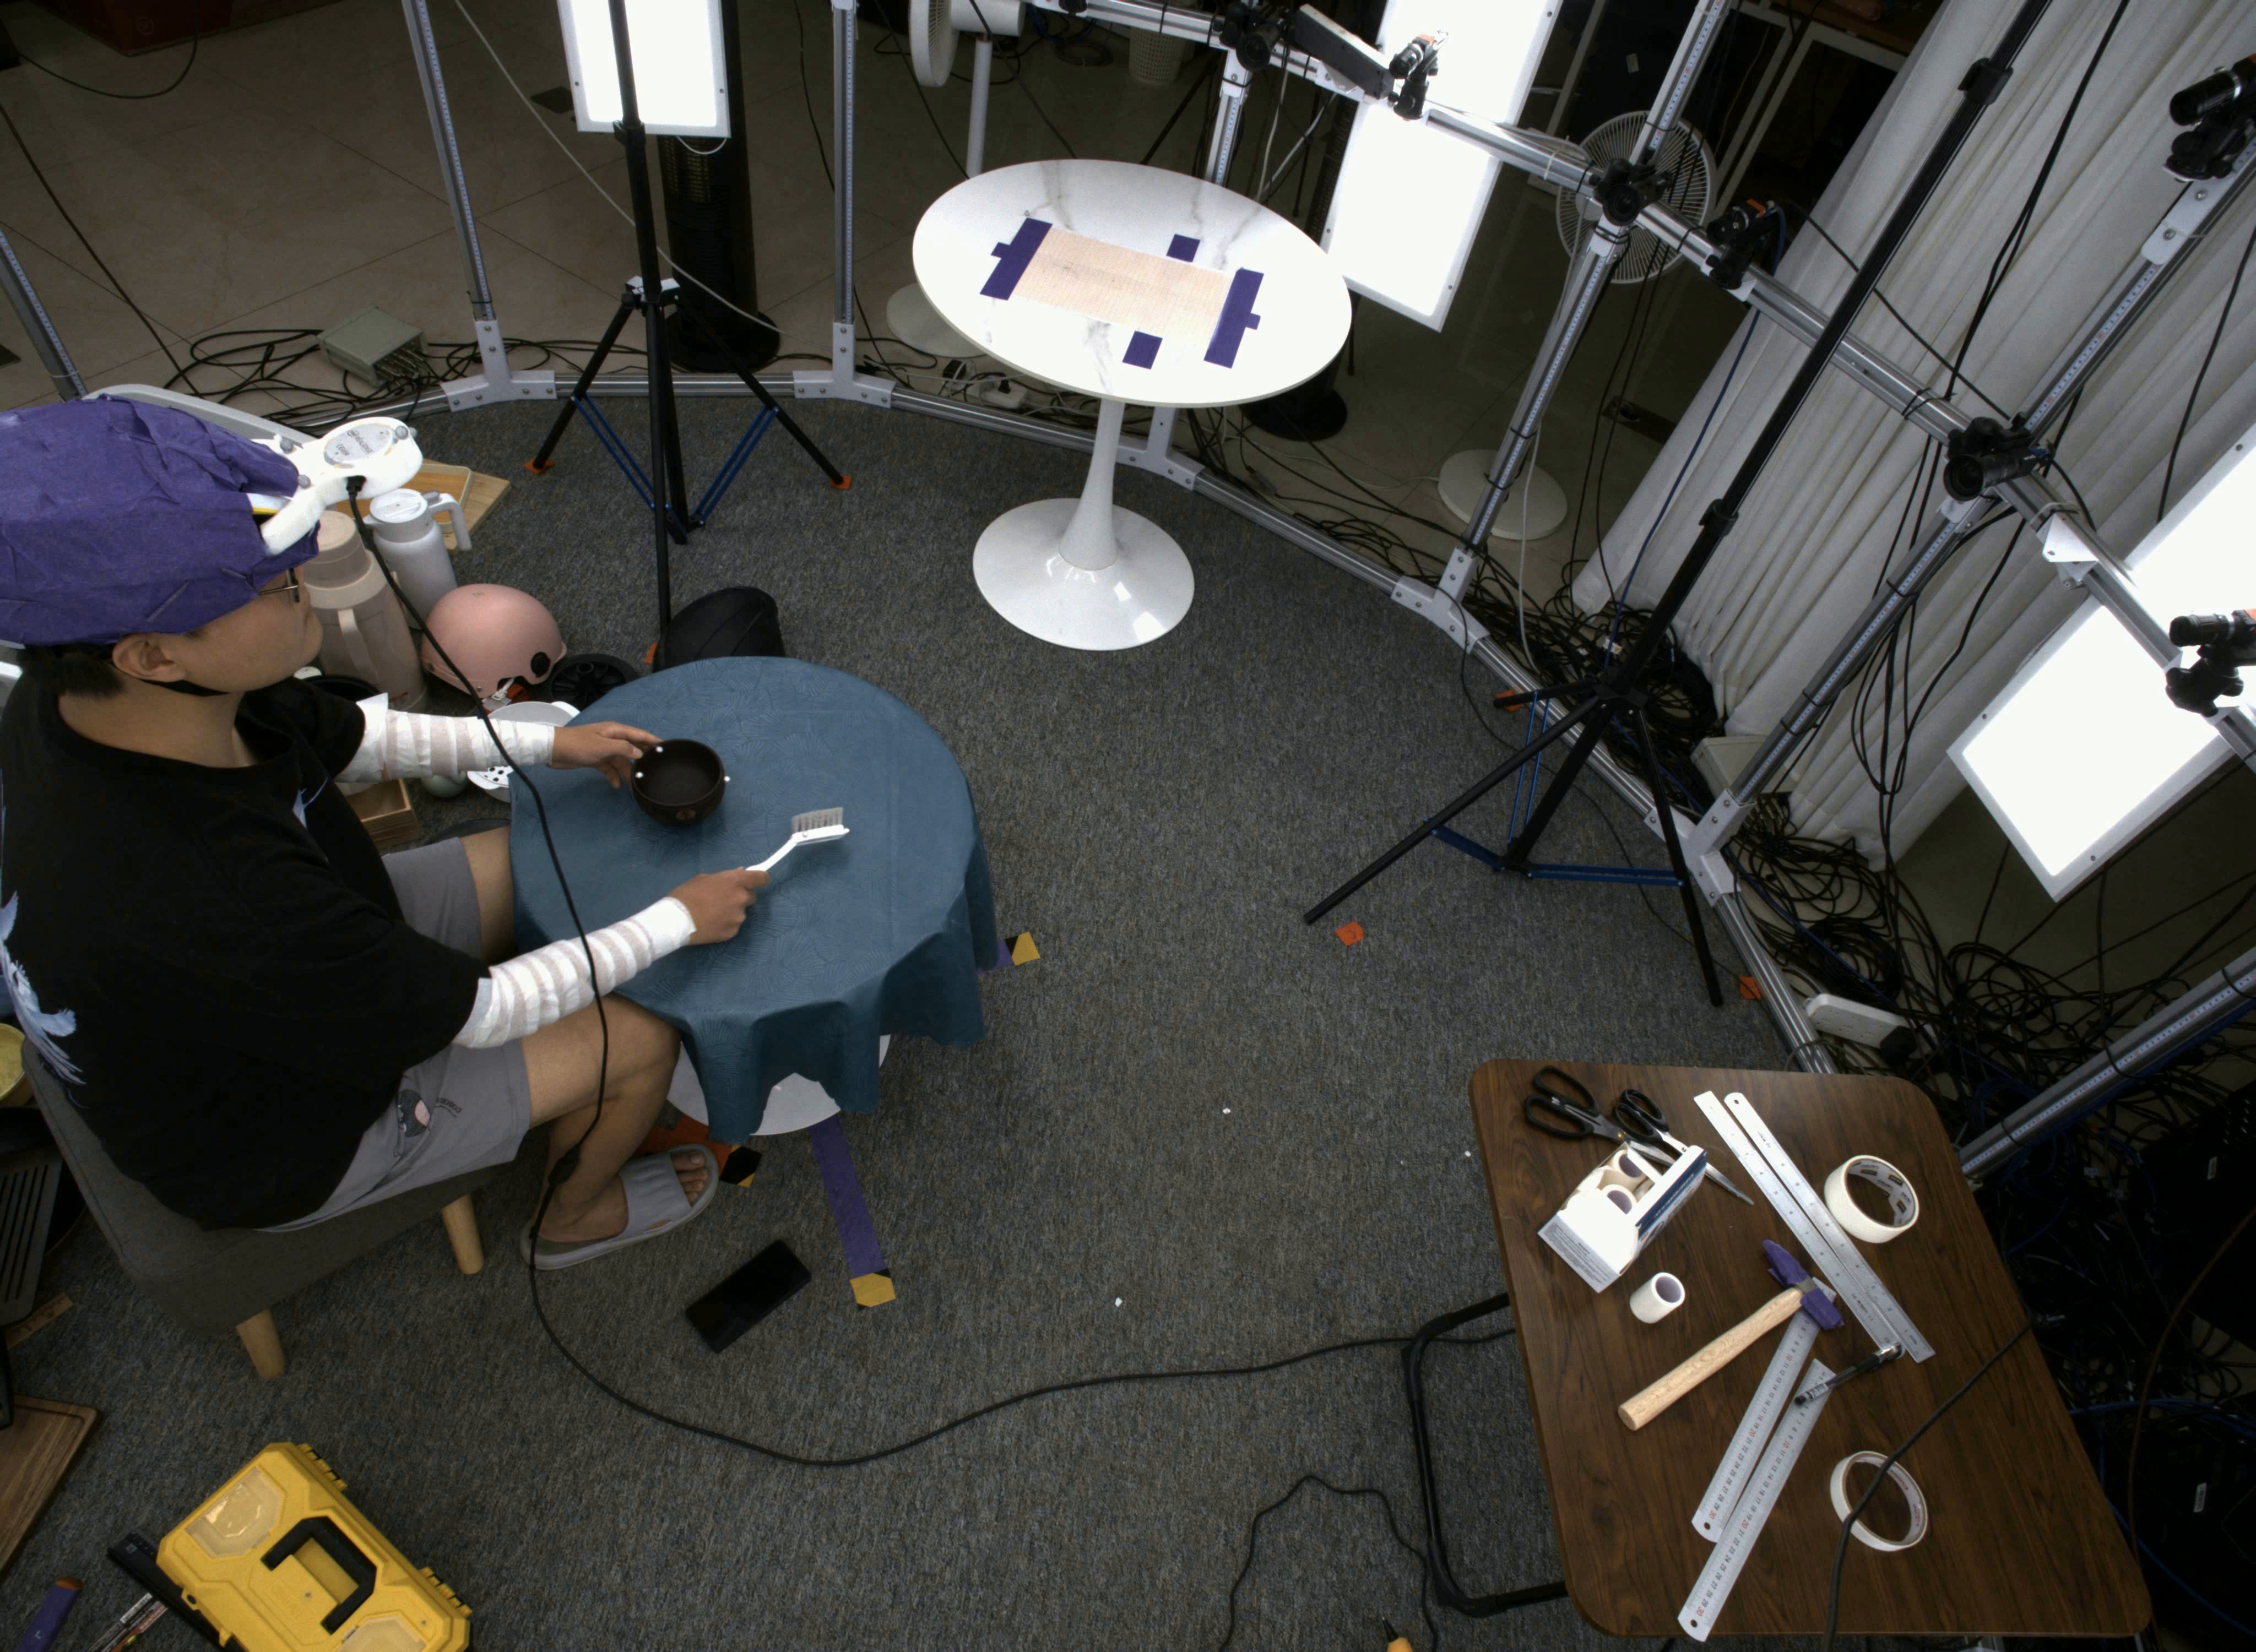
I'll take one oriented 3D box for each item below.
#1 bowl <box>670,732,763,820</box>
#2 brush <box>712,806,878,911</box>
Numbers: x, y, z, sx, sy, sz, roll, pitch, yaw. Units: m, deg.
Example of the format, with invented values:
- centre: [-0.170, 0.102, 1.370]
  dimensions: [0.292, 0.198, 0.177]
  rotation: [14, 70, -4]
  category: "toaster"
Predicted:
- centre: [-0.541, -0.059, 1.702]
  dimensions: [0.117, 0.071, 0.116]
  rotation: [6, 54, -7]
  category: "bowl"
- centre: [-0.428, 0.034, 1.657]
  dimensions: [0.244, 0.034, 0.050]
  rotation: [-27, 86, -26]
  category: "brush"
